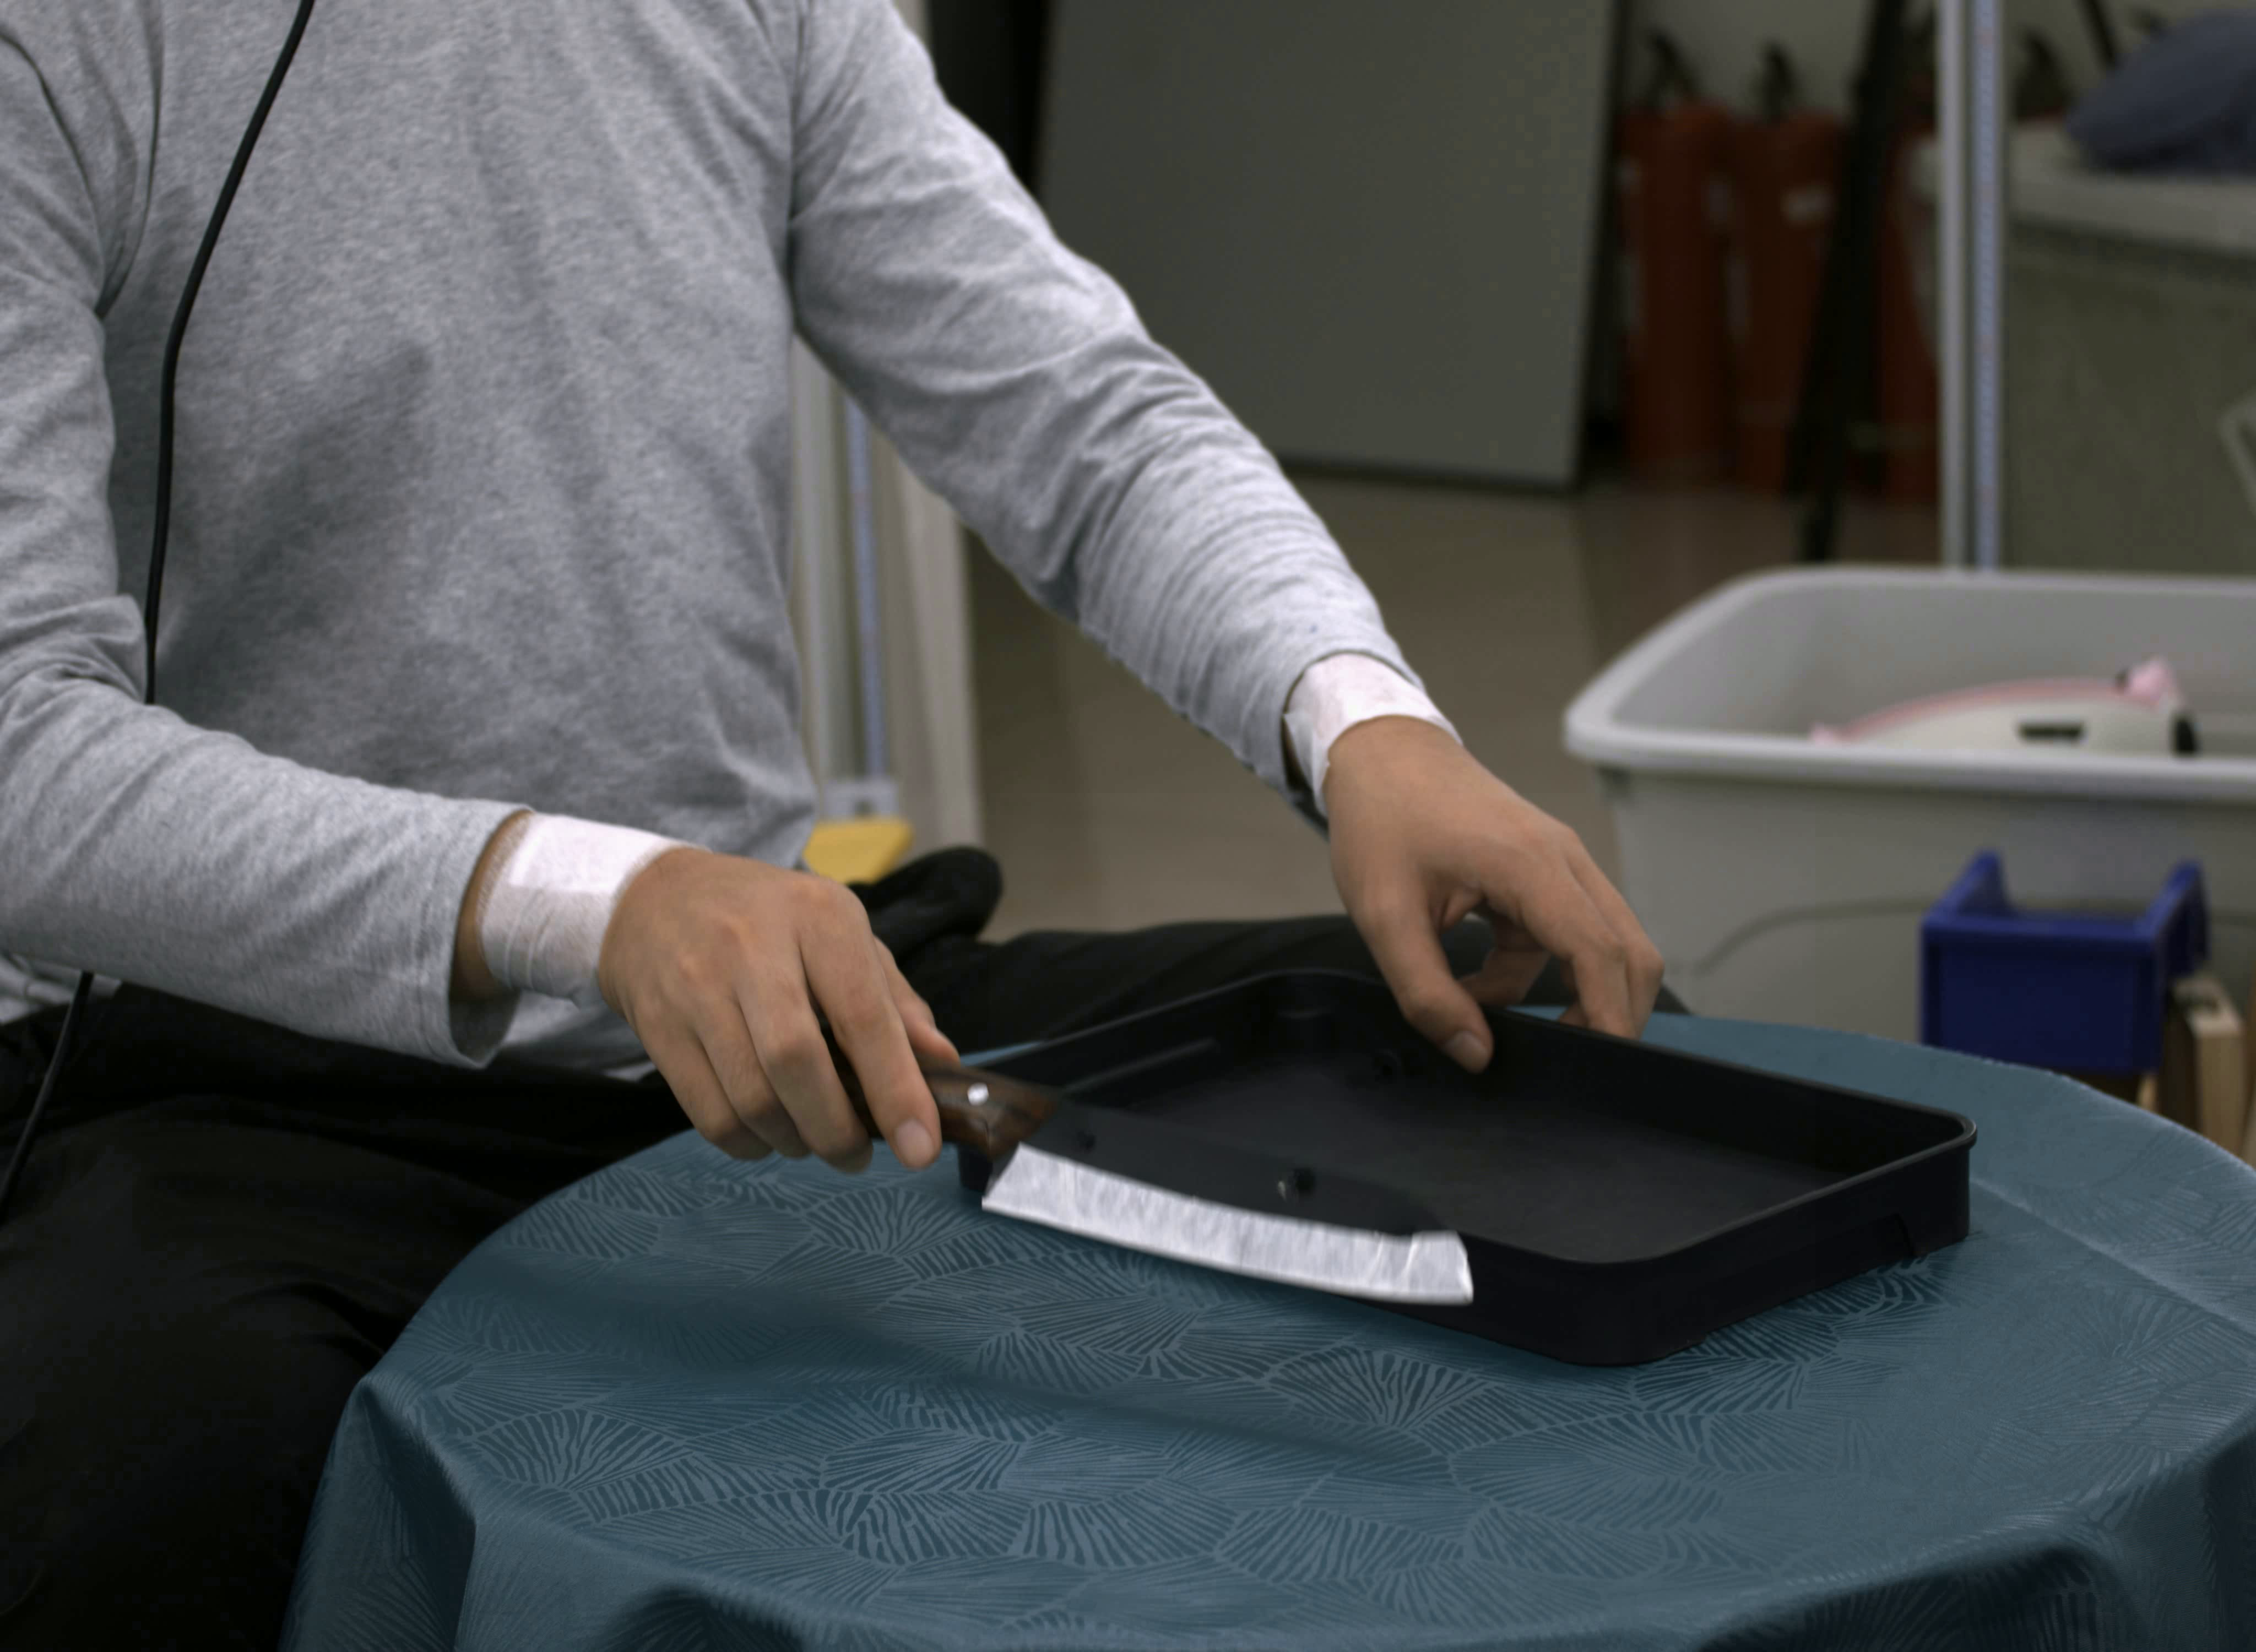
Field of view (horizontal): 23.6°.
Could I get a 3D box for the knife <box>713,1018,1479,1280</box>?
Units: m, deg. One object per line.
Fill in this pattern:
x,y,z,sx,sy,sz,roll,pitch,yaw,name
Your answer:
-0.014,0.095,1.597,0.291,0.020,0.050,13,58,37,knife

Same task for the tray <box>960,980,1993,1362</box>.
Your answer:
0.106,0.106,1.731,0.180,0.037,0.321,-16,17,-41,tray
